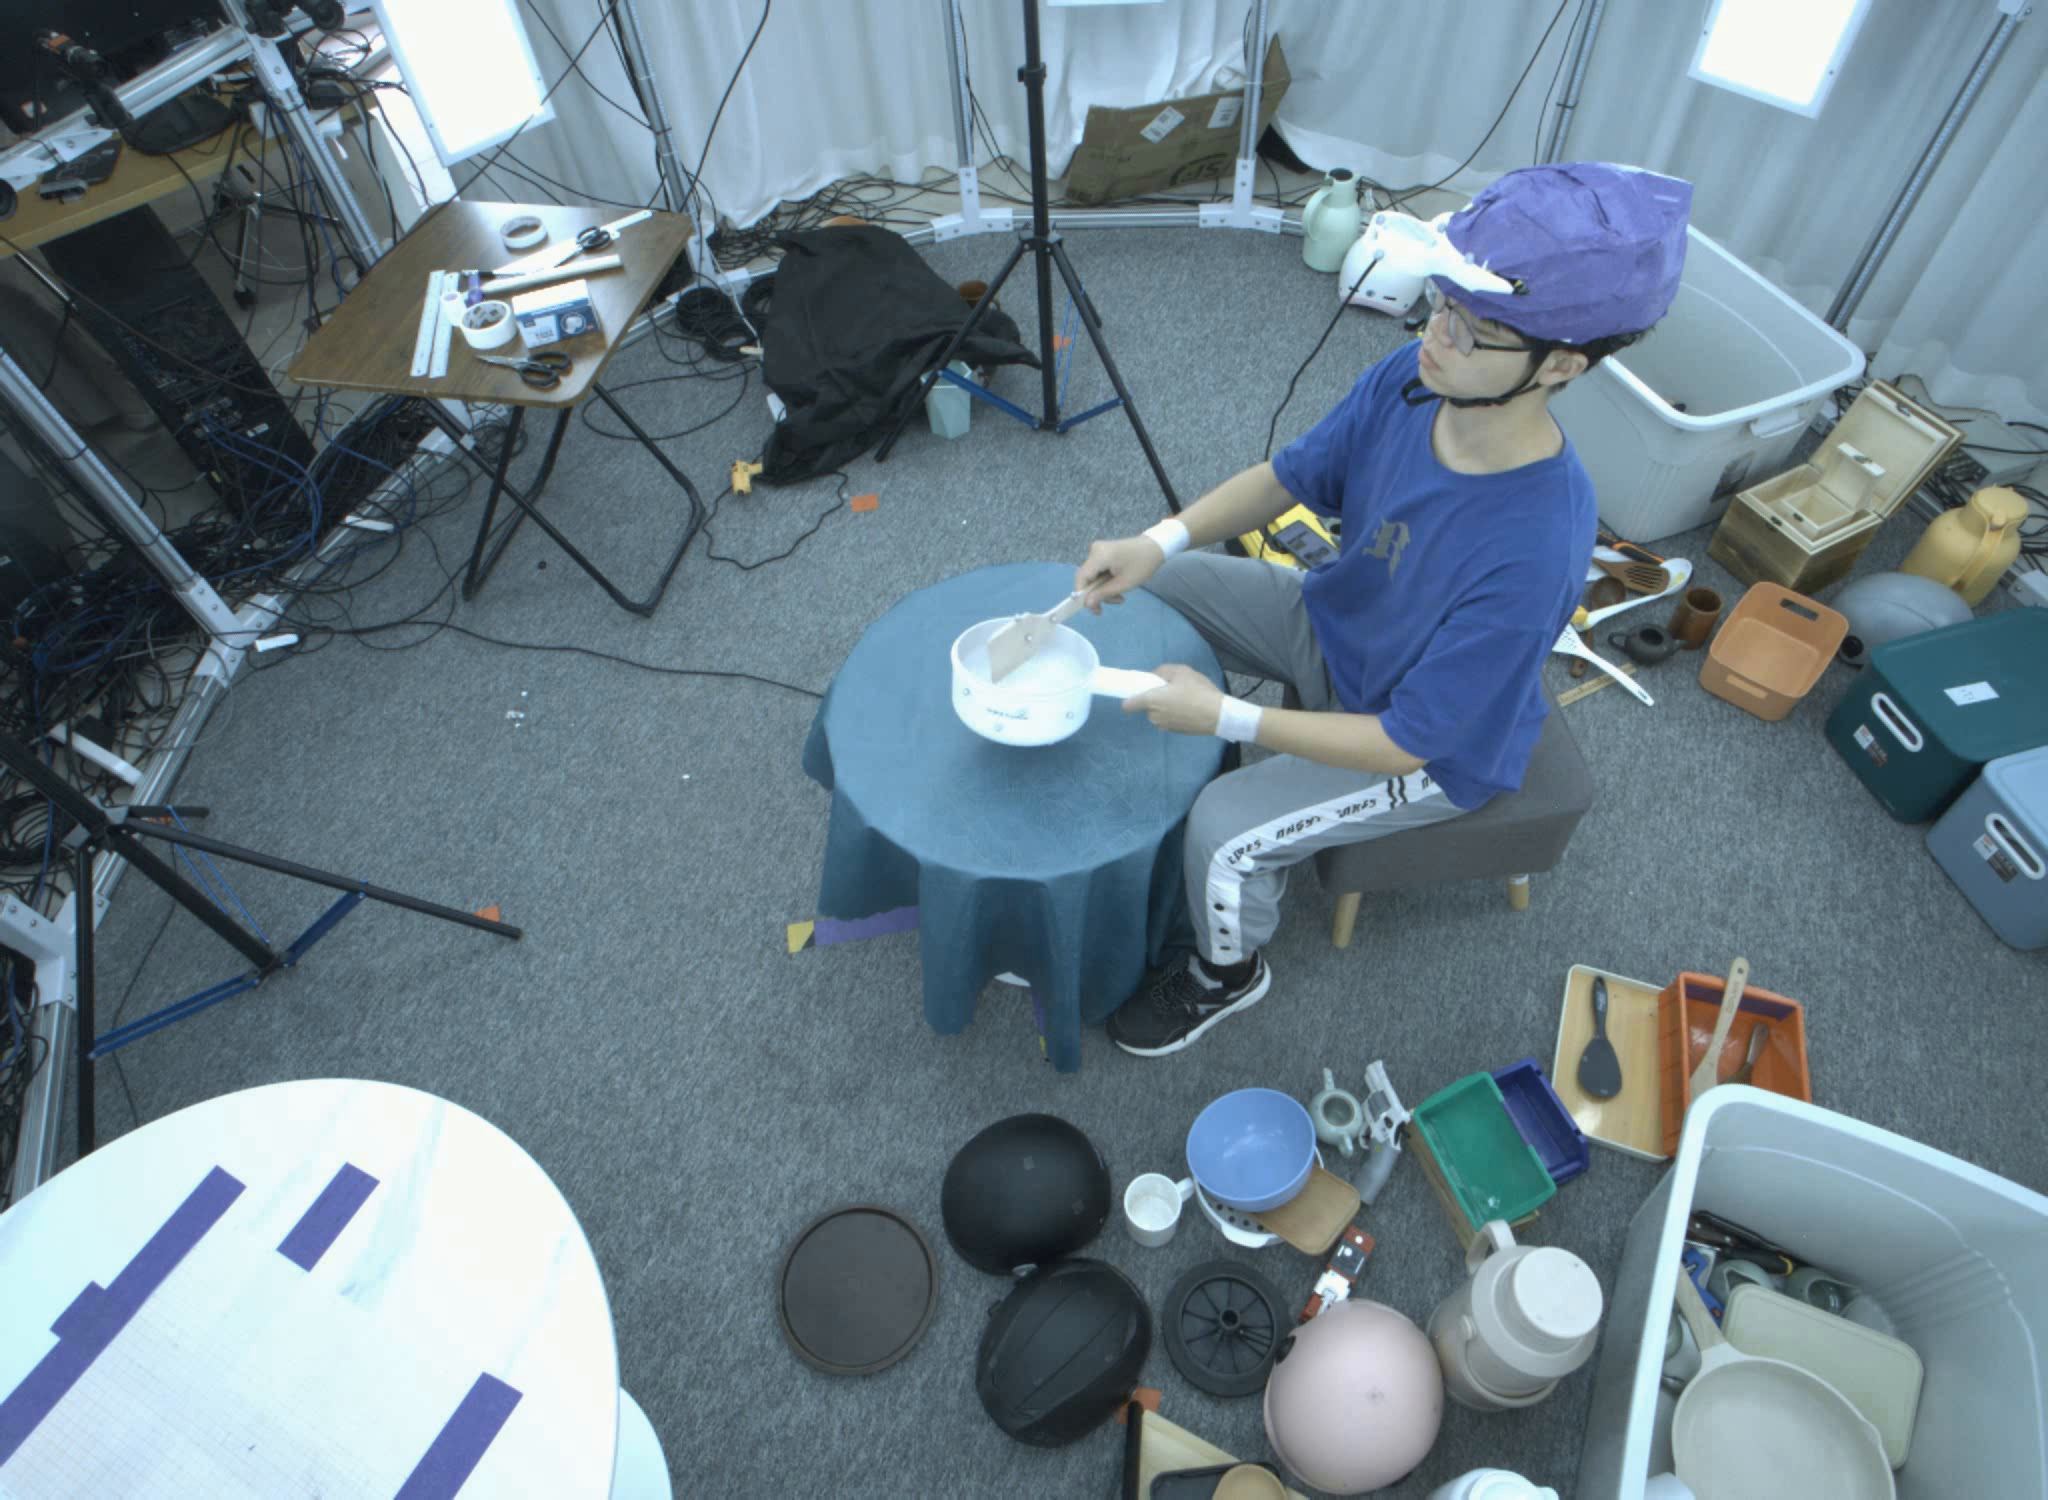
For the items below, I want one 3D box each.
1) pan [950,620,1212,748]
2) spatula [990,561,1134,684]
[{"bbox_3d":[0.073,-0.074,1.679,0.353,0.103,0.200,10,35,5],"label":"pan"},{"bbox_3d":[0.056,-0.188,1.675,0.010,0.073,0.296,24,48,36],"label":"spatula"}]
